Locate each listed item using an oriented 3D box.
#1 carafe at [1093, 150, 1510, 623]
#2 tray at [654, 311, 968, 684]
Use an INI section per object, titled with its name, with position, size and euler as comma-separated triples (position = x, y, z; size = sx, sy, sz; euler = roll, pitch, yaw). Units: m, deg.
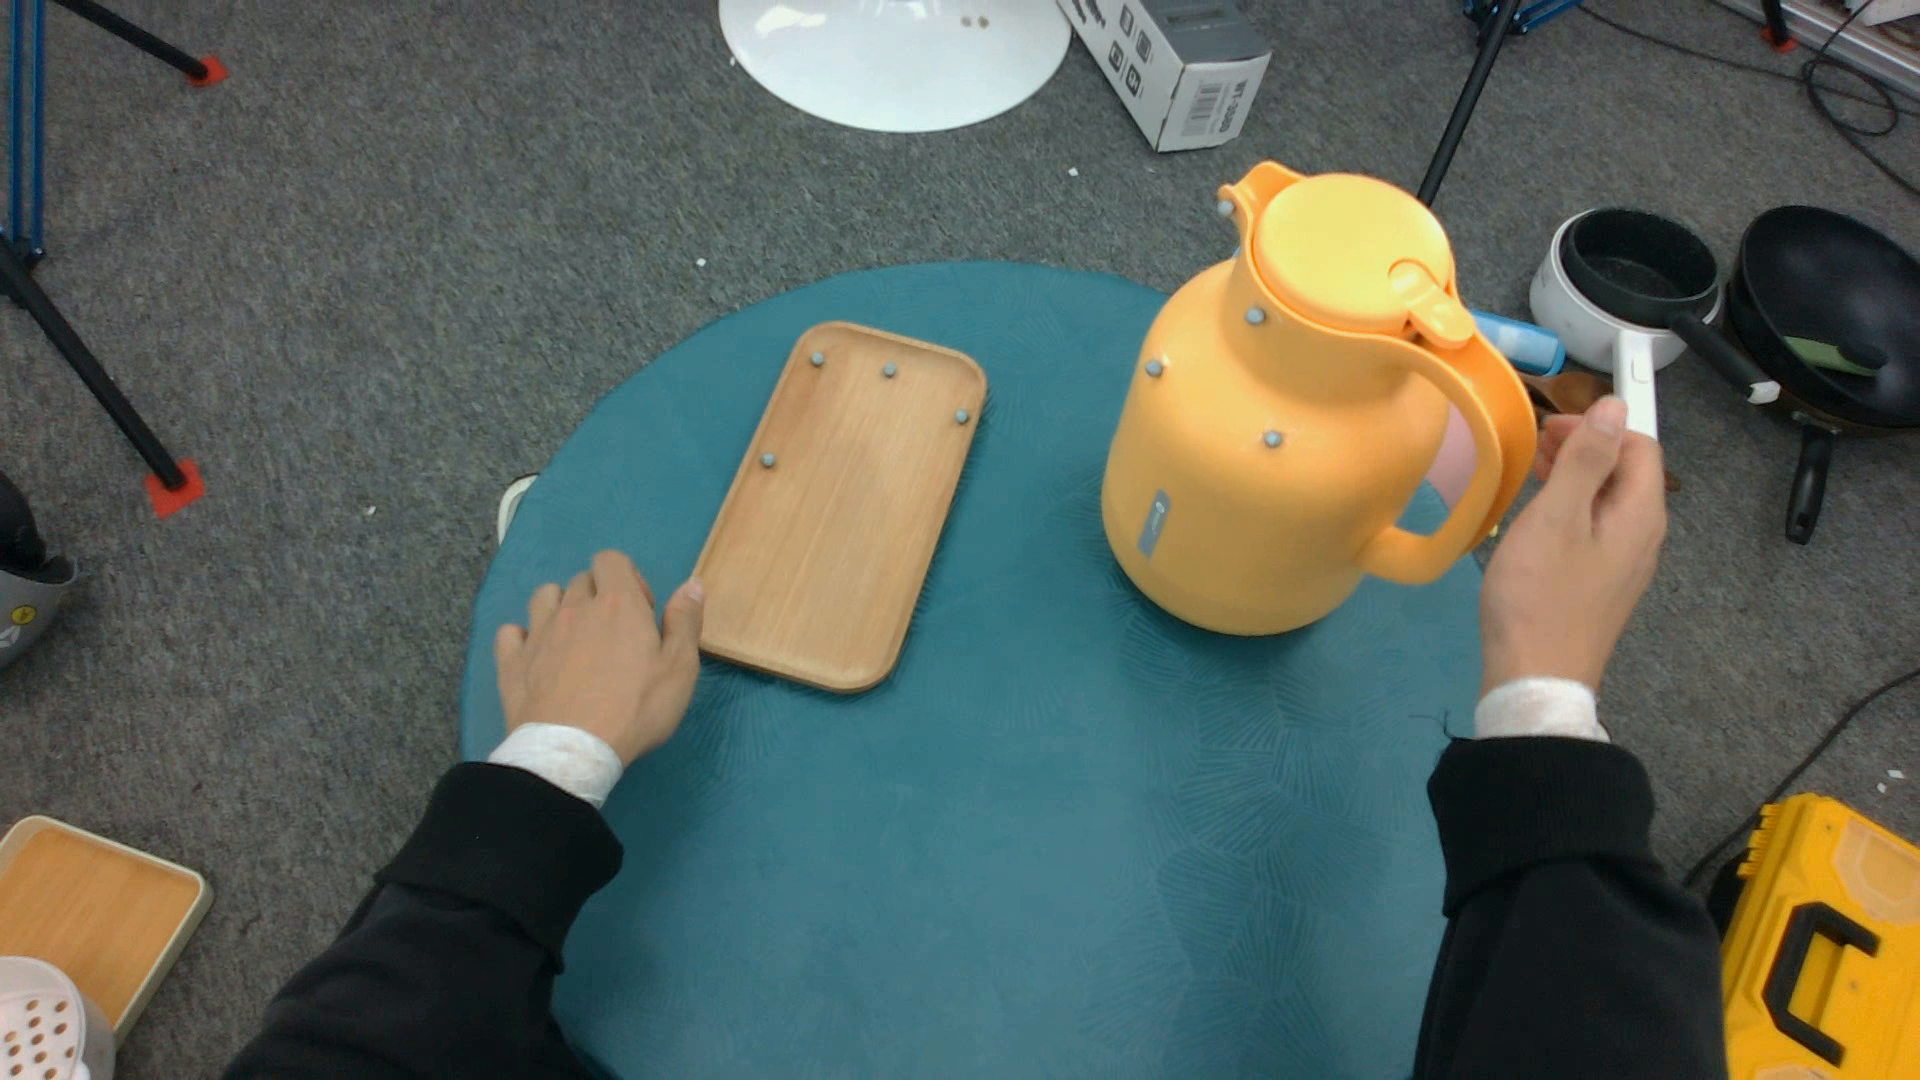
[carafe]
position = 0.174, -0.063, 0.721
size = 0.164, 0.259, 0.202
euler = -32, 64, -20
[tray]
position = -0.083, -0.032, 0.821
size = 0.130, 0.023, 0.252
euler = 15, 58, 6
